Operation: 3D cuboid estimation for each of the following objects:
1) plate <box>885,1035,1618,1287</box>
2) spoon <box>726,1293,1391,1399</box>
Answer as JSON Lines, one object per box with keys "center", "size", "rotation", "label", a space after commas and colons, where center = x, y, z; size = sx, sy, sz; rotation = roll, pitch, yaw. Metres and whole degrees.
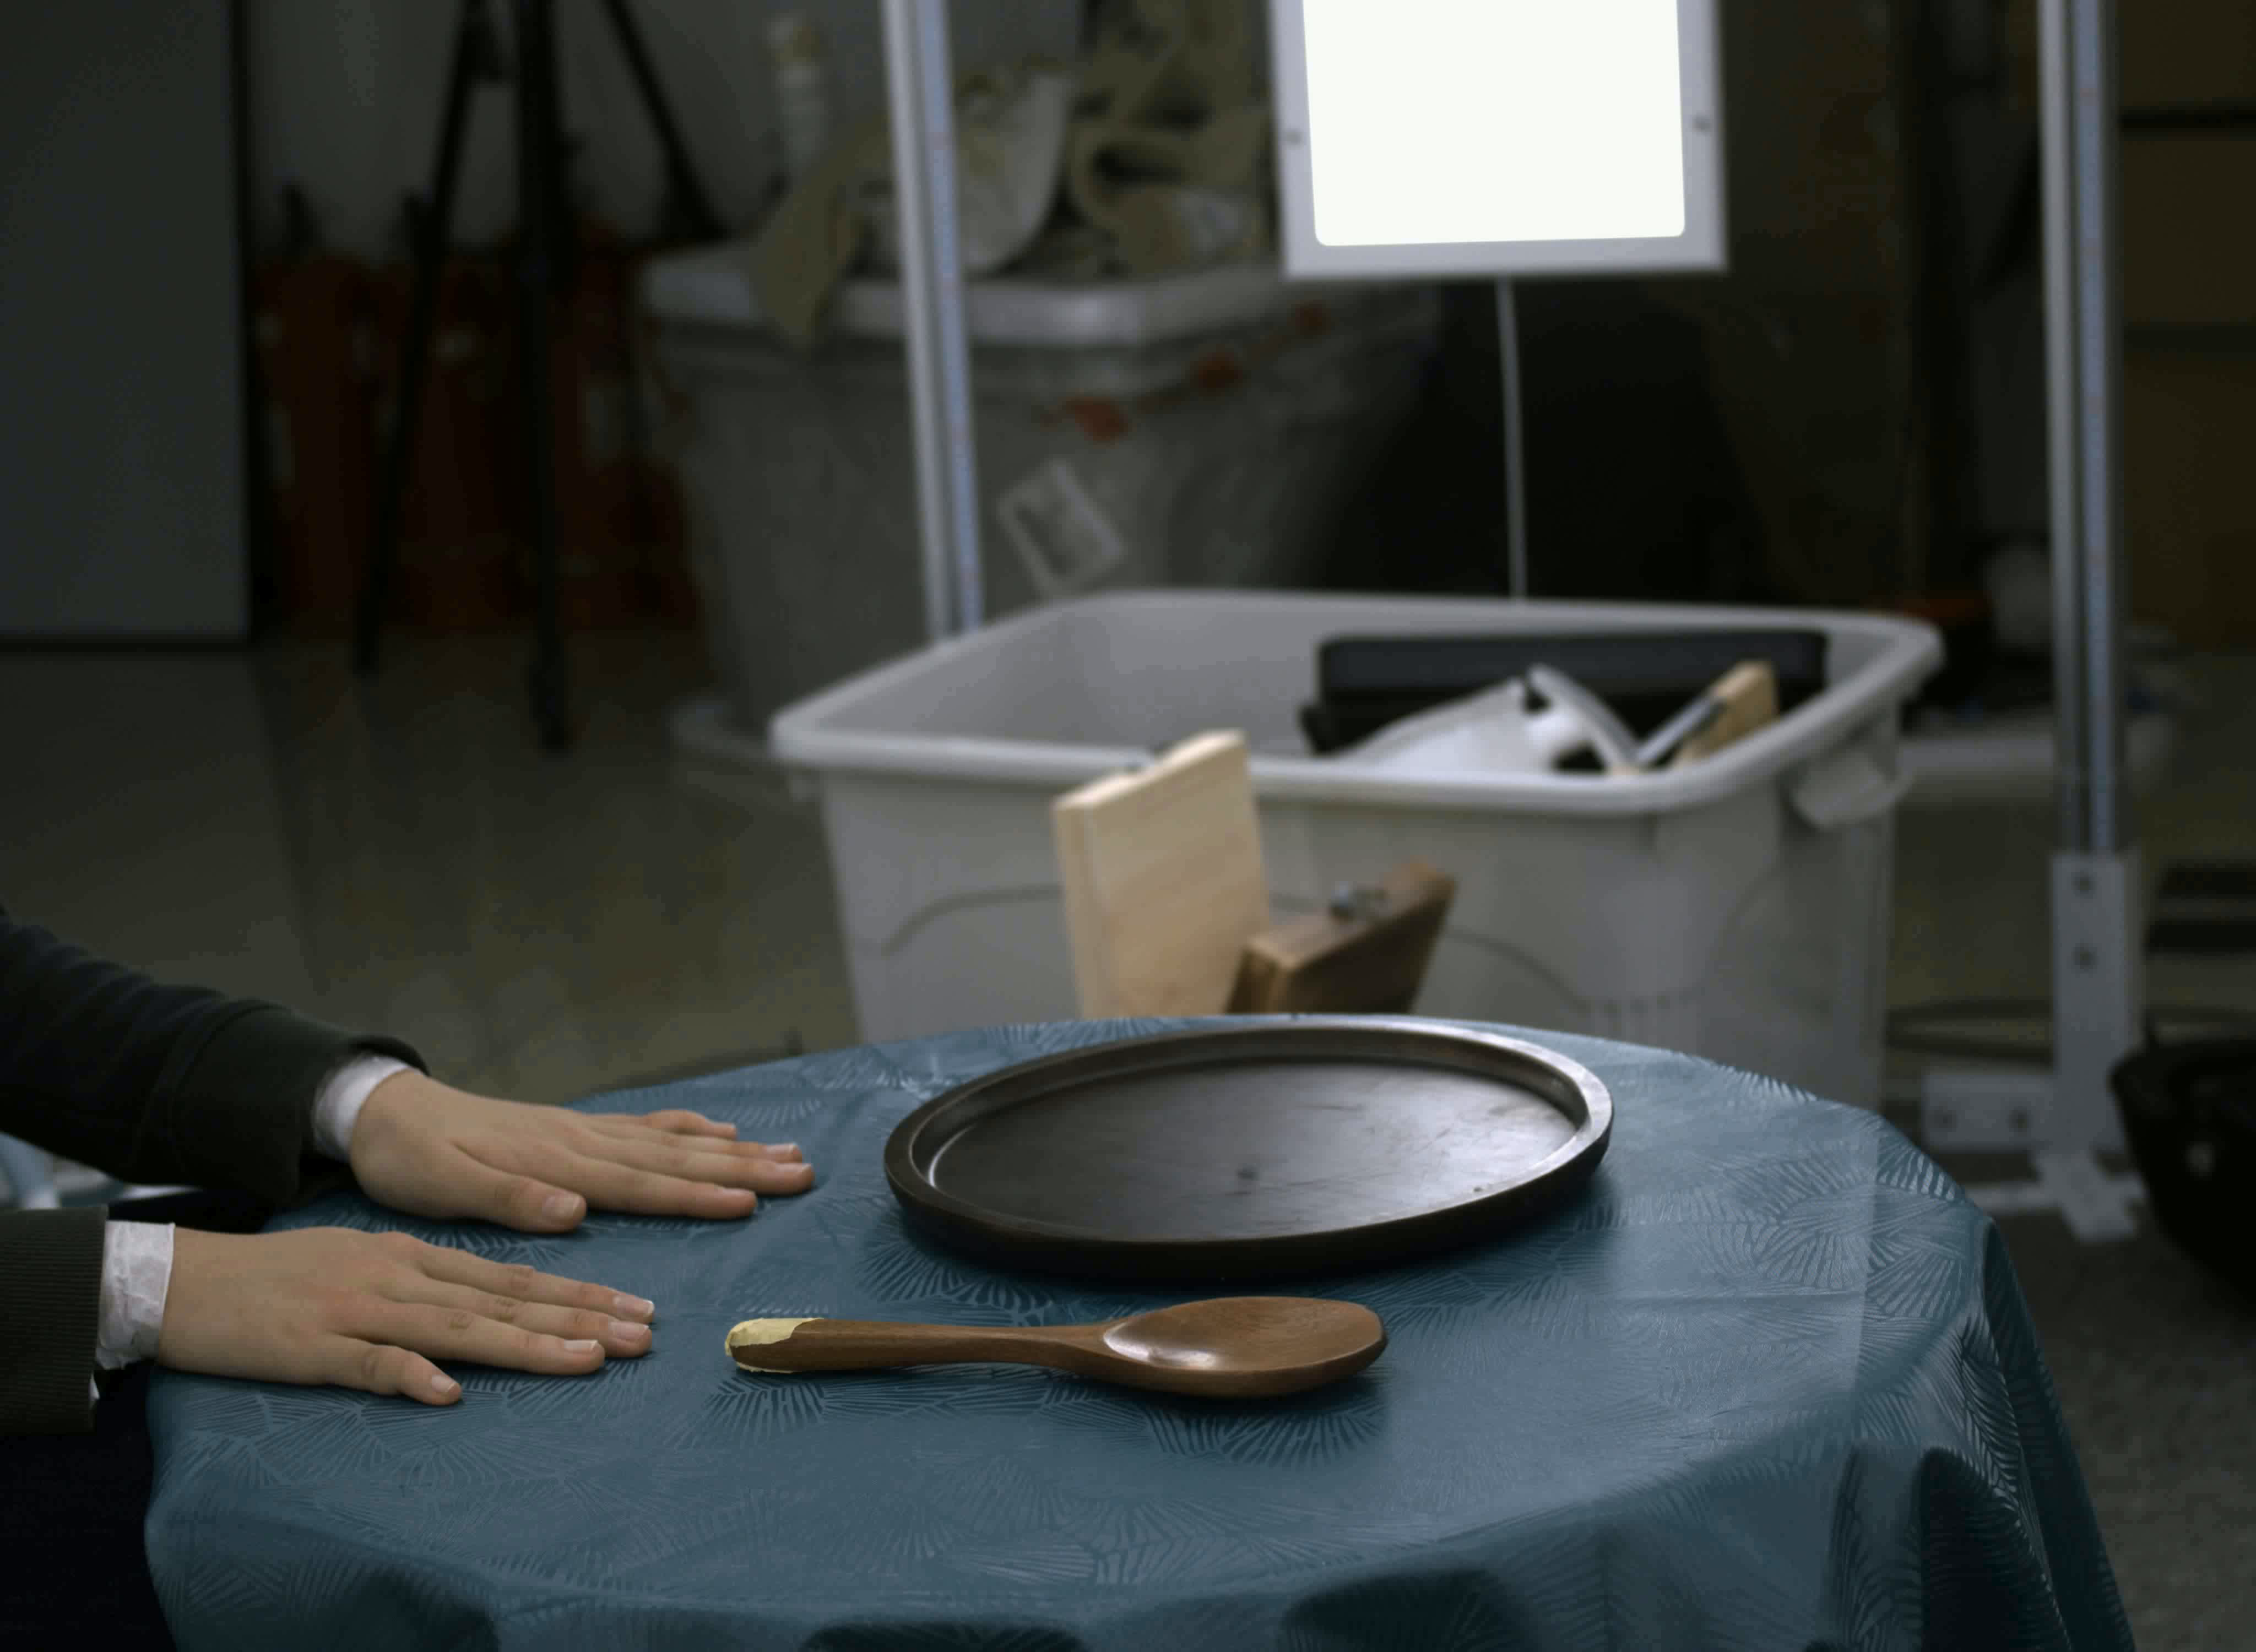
{"center": [0.043, 0.112, 1.894], "size": [0.254, 0.029, 0.254], "rotation": [-4, 13, 0], "label": "plate"}
{"center": [-0.023, 0.163, 1.721], "size": [0.218, 0.017, 0.074], "rotation": [0, 15, 18], "label": "spoon"}
